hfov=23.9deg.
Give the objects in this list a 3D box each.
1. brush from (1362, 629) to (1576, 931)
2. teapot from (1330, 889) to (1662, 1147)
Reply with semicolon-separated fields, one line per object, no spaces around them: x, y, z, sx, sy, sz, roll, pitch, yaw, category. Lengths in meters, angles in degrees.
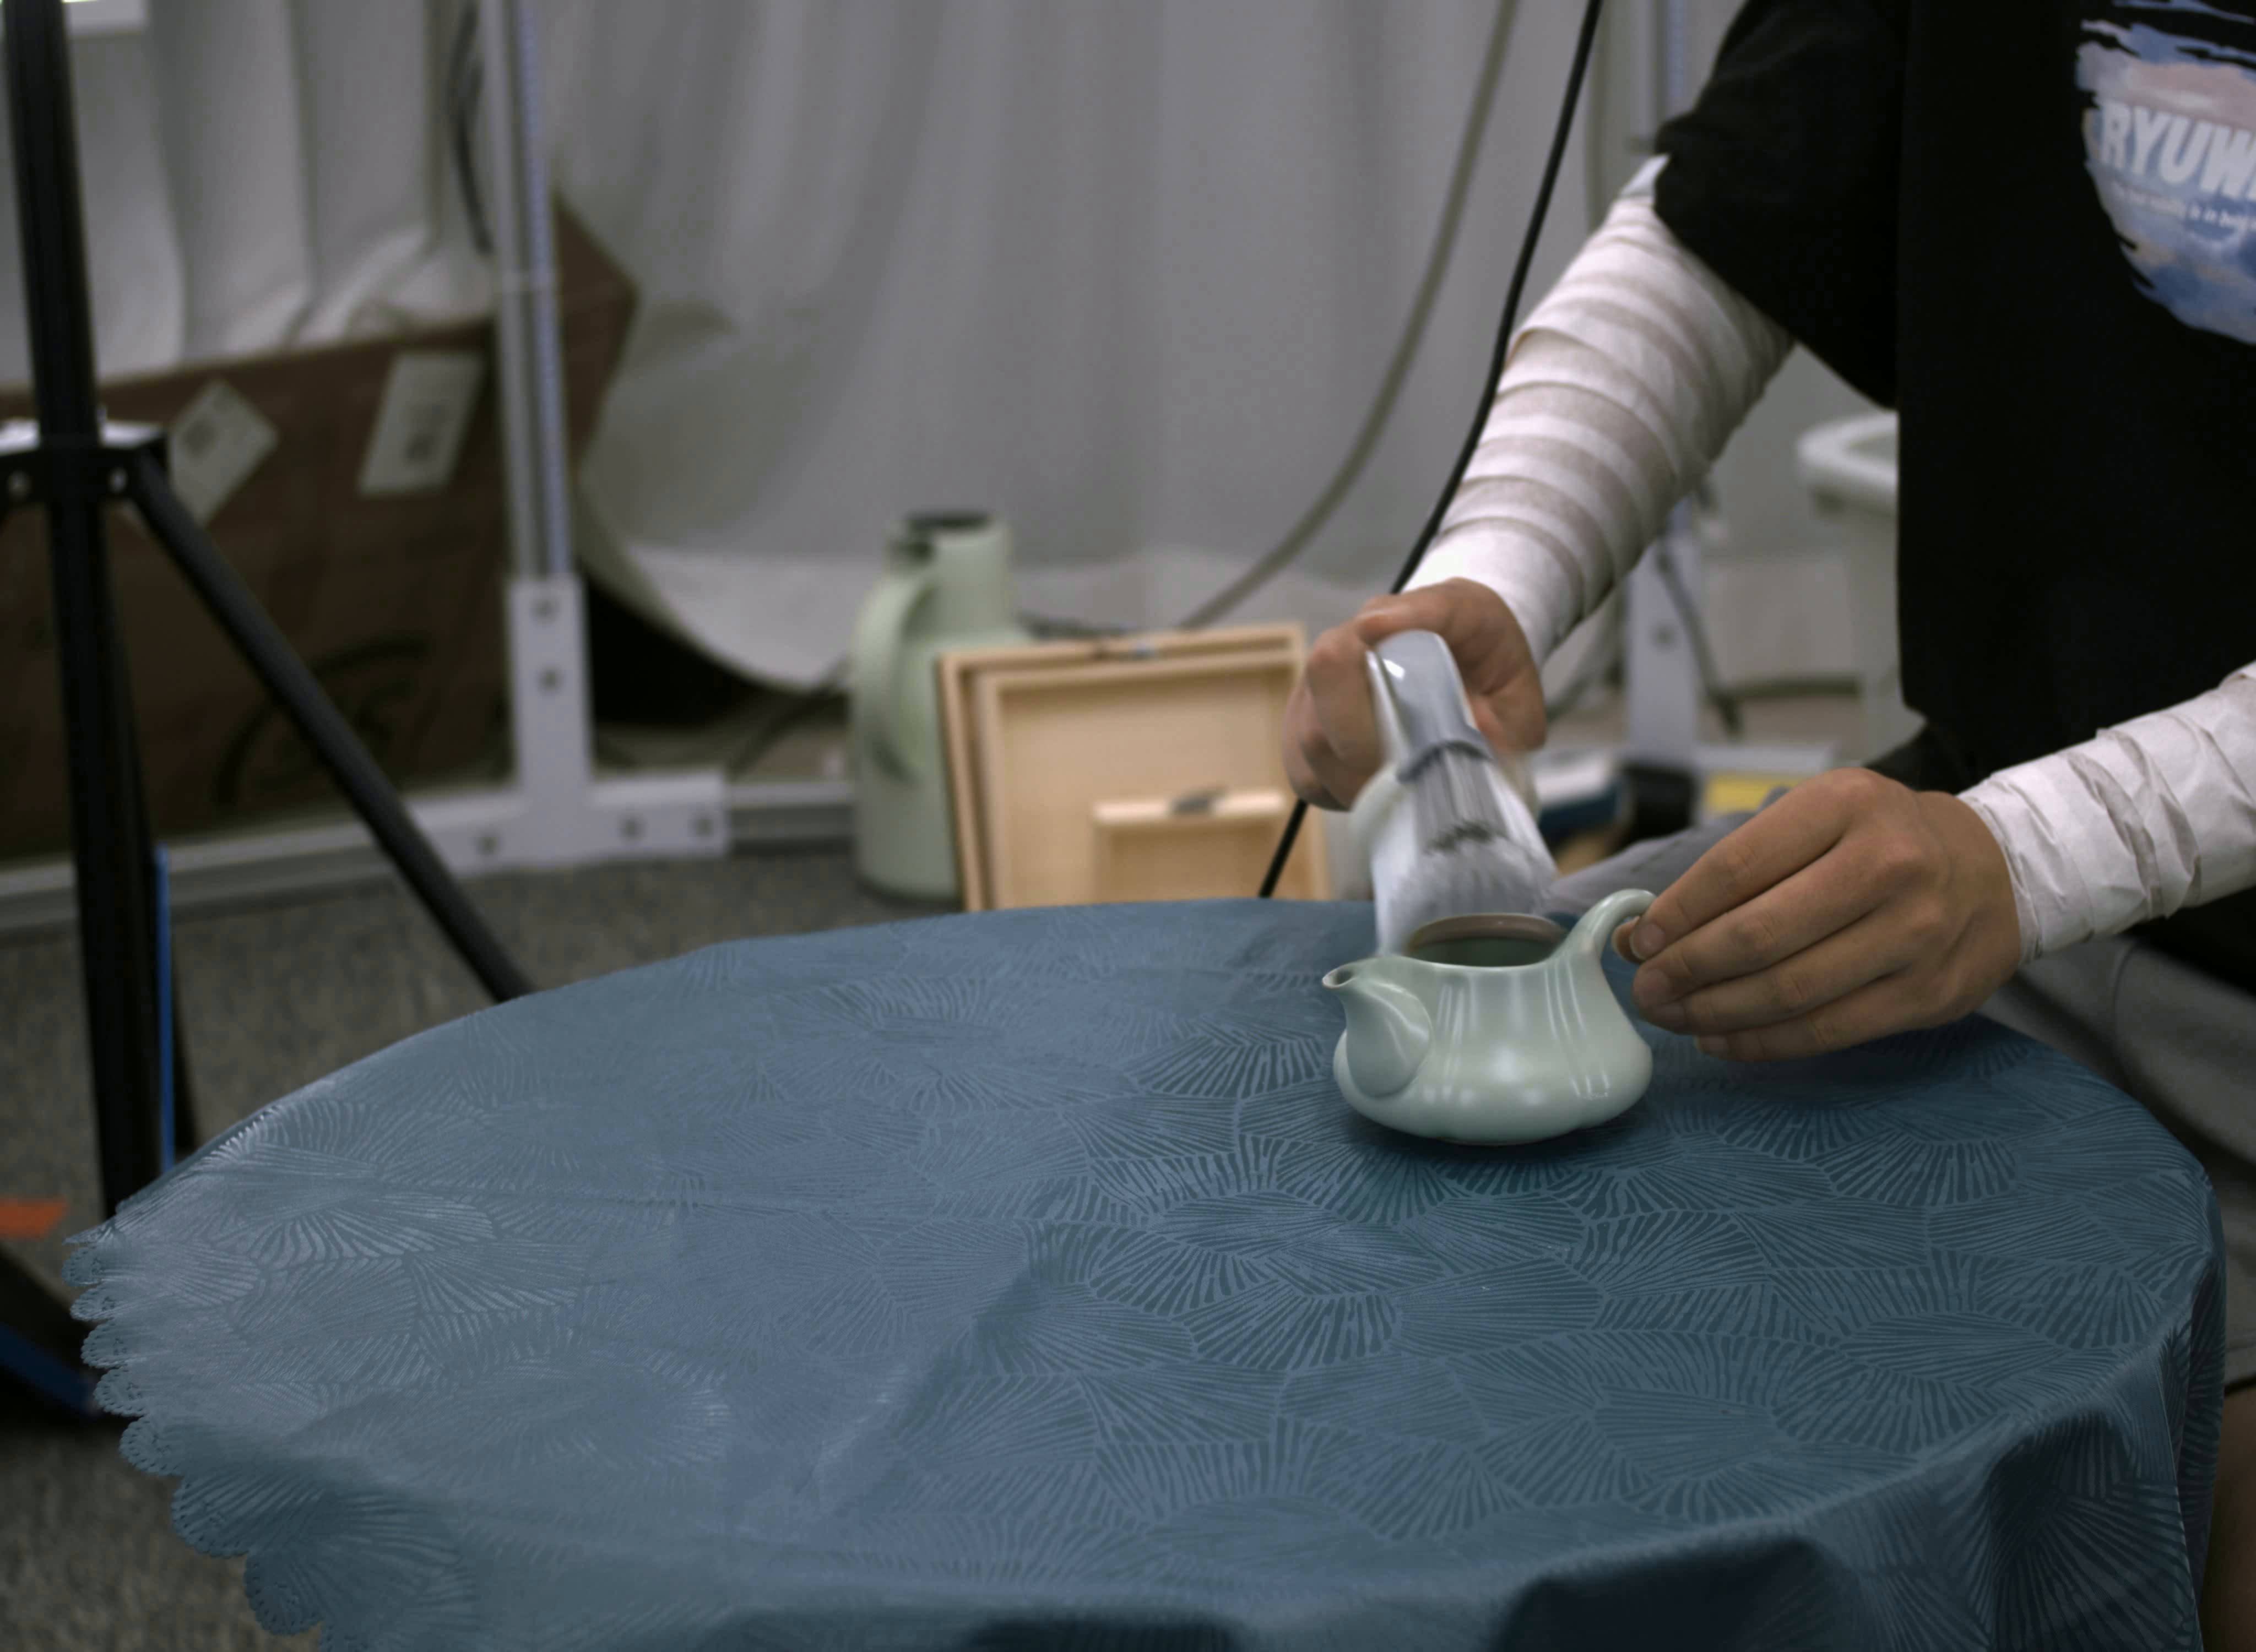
0.101;-0.018;1.666;0.061;0.095;0.174;-18;-11;-1;brush
0.113;0.060;1.603;0.134;0.061;0.098;-14;17;-36;teapot
